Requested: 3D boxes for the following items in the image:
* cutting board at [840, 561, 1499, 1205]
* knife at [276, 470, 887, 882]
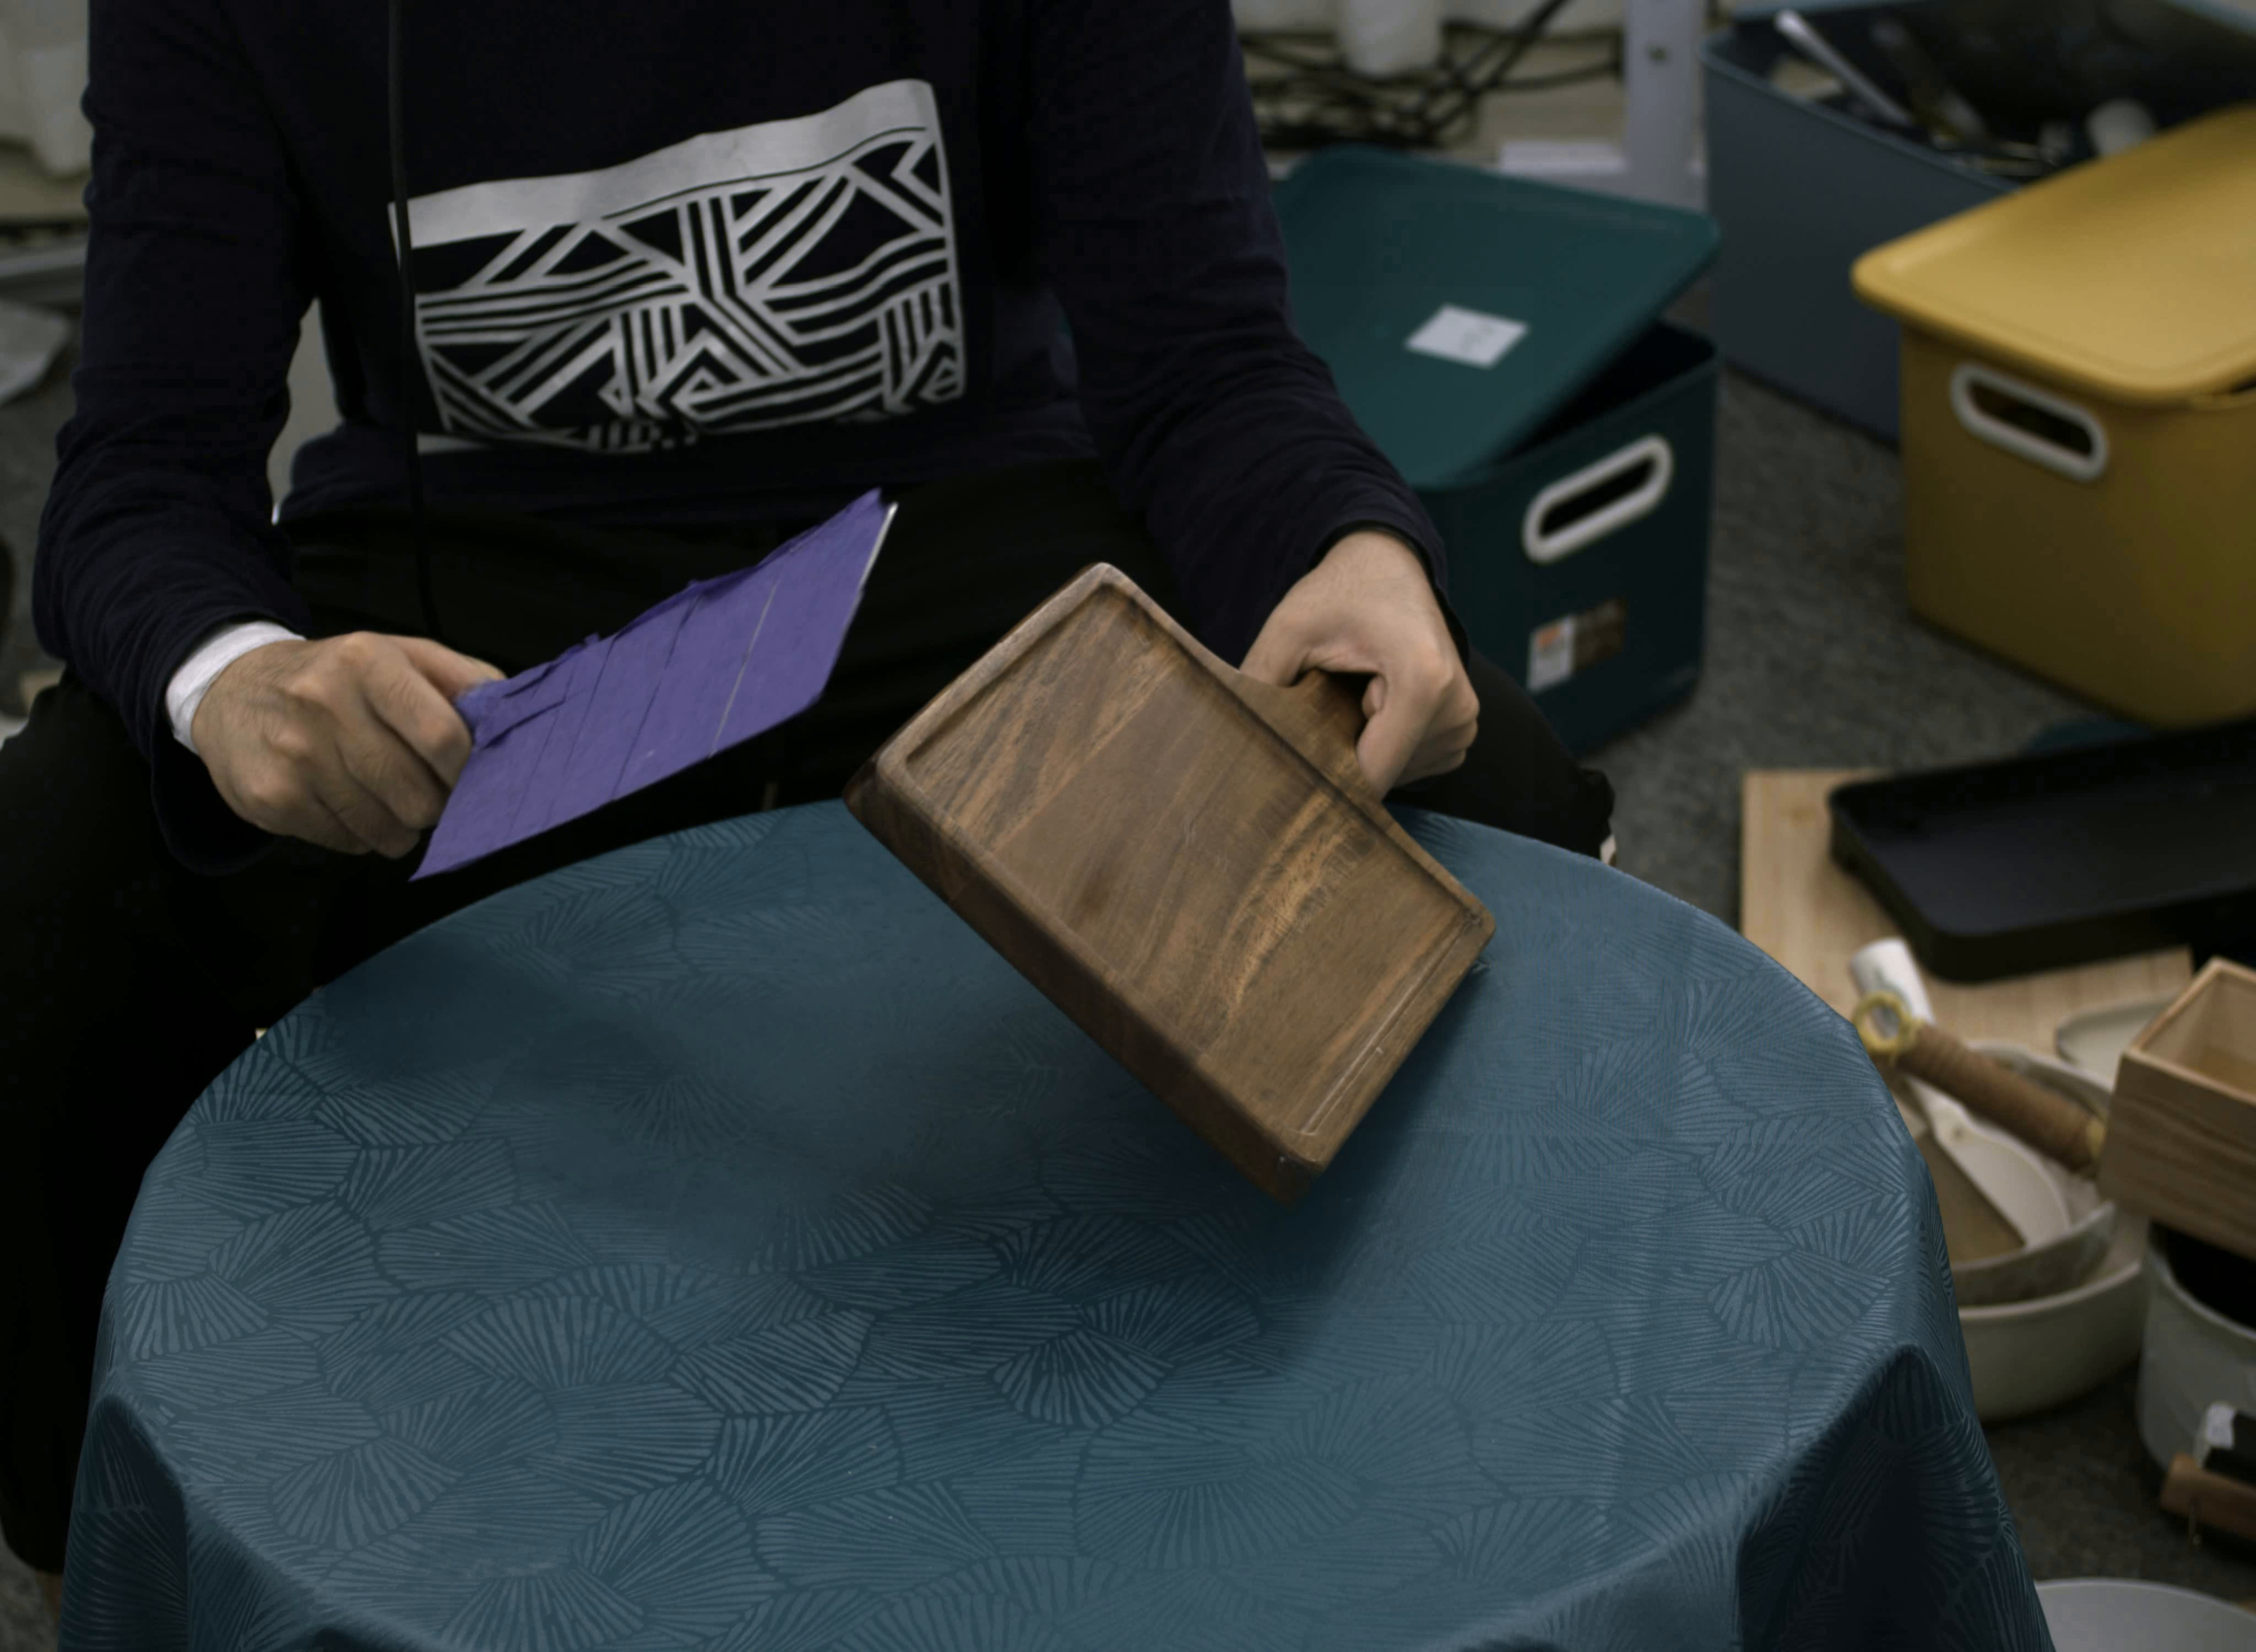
[{"bbox_3d":[0.035,-0.002,1.932,0.201,0.023,0.357,42,25,2],"label":"cutting board"},{"bbox_3d":[-0.196,-0.031,1.870,0.310,0.032,0.106,-25,33,42],"label":"knife"}]
